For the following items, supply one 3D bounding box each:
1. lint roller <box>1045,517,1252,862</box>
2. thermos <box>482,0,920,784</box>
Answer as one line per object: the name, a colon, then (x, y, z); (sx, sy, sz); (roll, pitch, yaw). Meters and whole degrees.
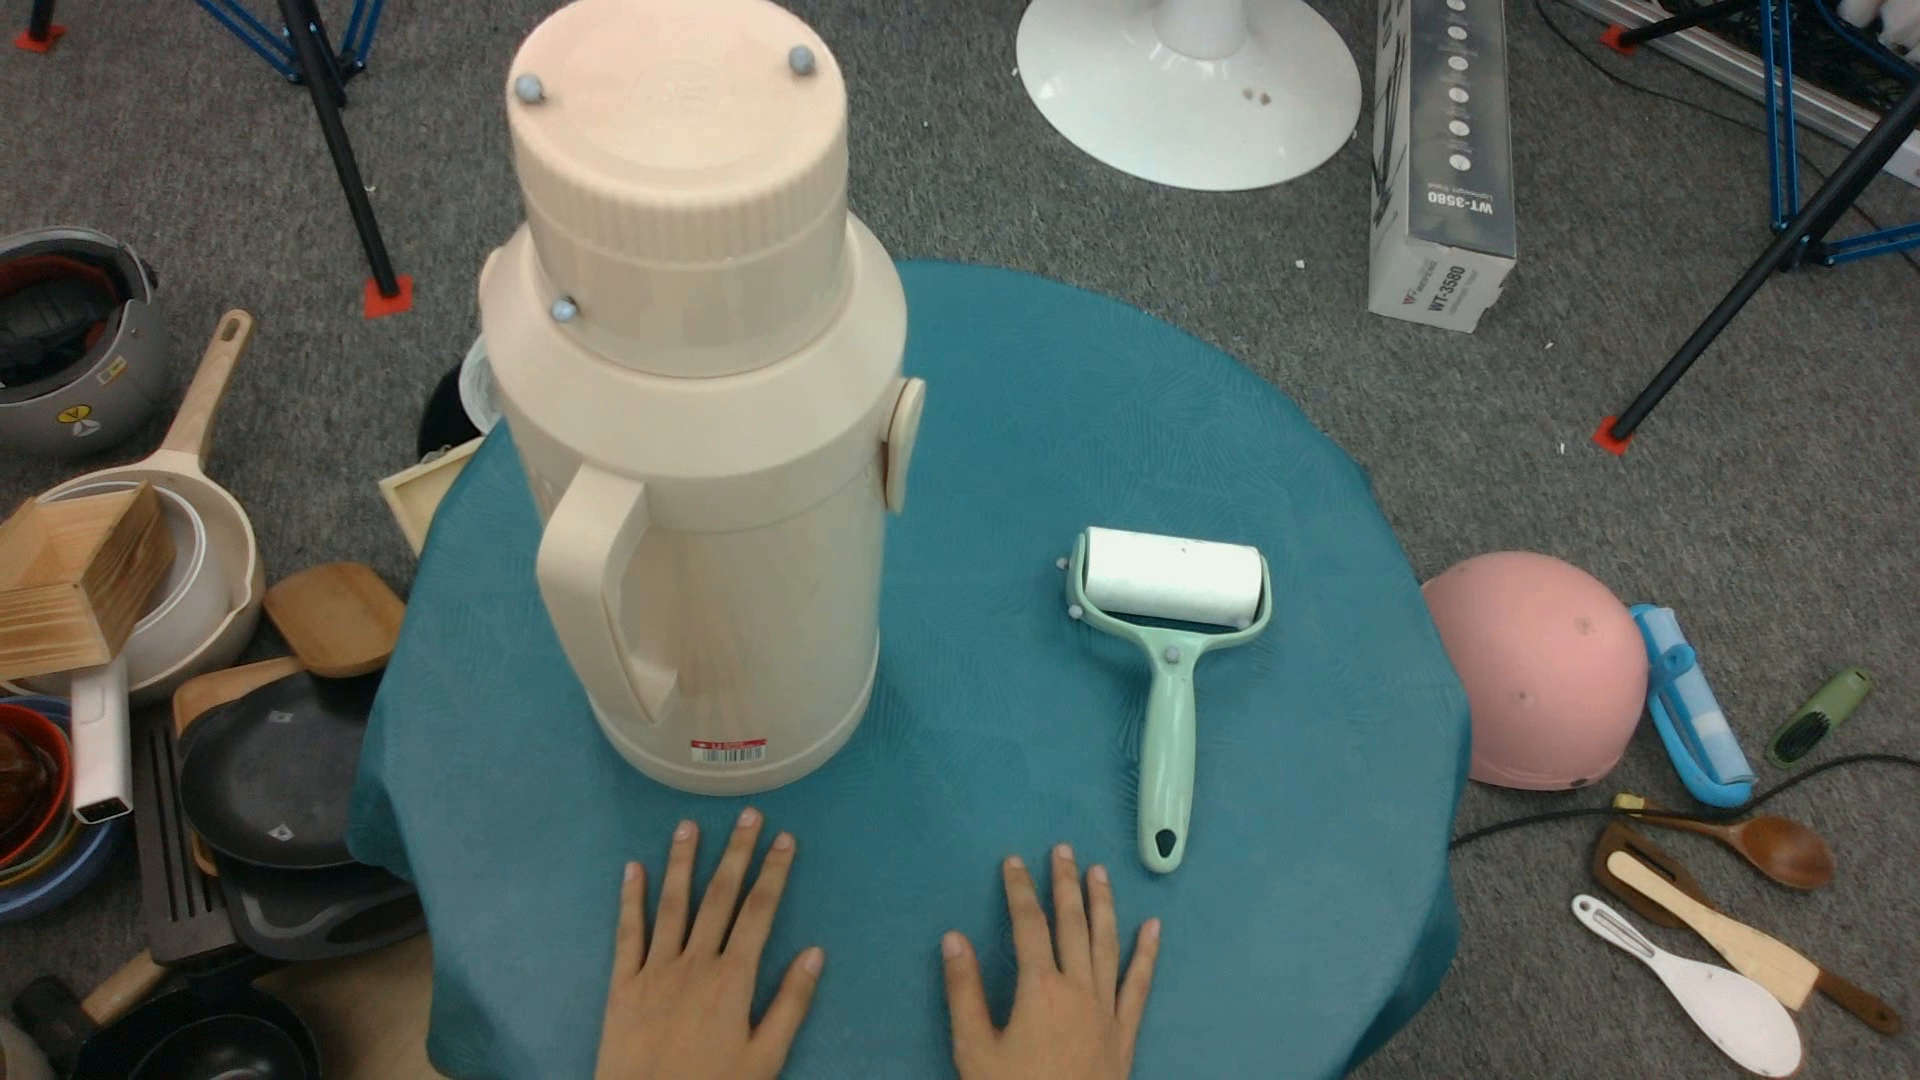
lint roller: (0.103, 0.077, 0.762); (0.116, 0.048, 0.198); (9, 56, -5)
thermos: (-0.114, -0.030, 0.595); (0.175, 0.404, 0.208); (18, 58, 4)
